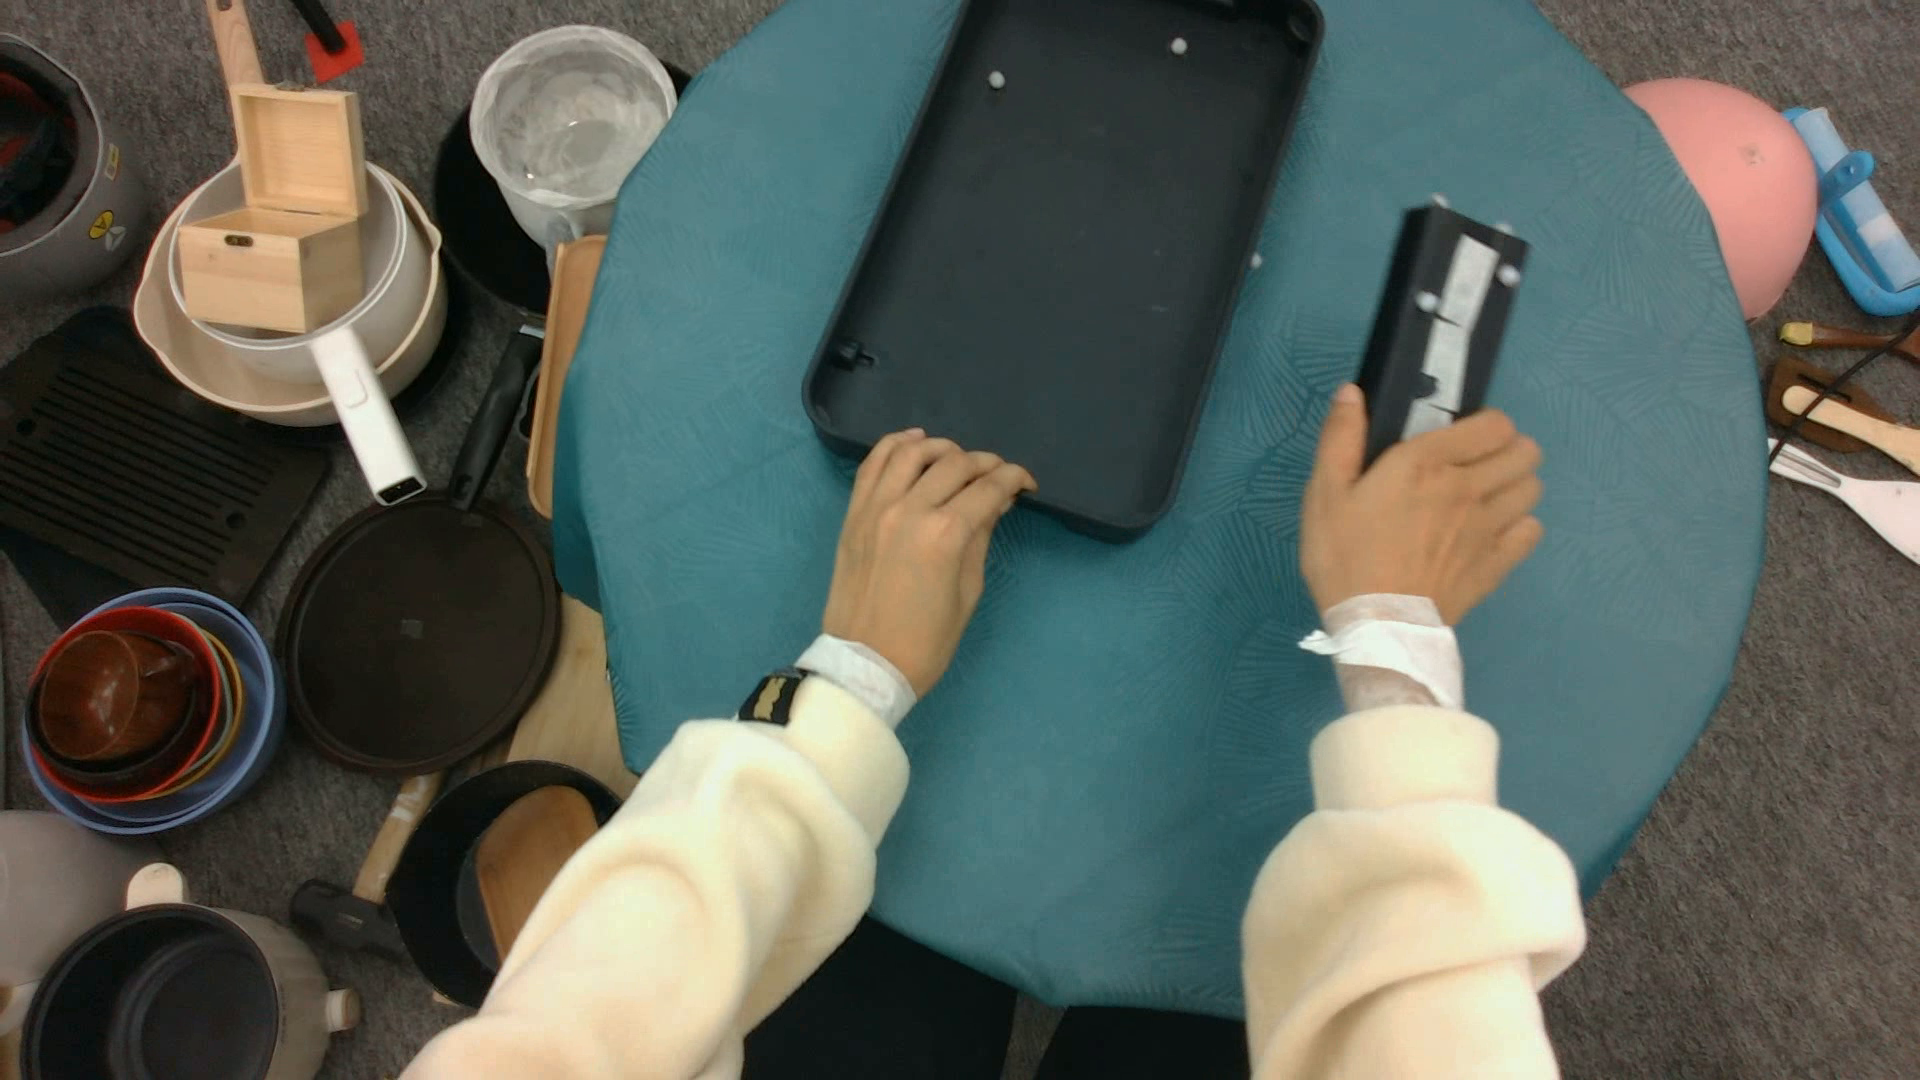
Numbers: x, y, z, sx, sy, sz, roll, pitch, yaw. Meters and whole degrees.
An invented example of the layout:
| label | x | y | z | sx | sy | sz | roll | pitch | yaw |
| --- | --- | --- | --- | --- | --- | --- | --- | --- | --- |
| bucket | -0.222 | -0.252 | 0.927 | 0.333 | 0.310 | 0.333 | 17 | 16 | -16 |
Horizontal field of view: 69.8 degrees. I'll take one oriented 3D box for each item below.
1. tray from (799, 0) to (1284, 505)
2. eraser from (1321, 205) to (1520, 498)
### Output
| label | x | y | z | sx | sy | sz | roll | pitch | yaw |
| --- | --- | --- | --- | --- | --- | --- | --- | --- | --- |
| tray | 0.048 | -0.182 | 0.699 | 0.184 | 0.037 | 0.319 | 15 | 71 | 2 |
| eraser | 0.208 | -0.085 | 0.625 | 0.053 | 0.030 | 0.125 | 19 | 87 | -6 |
